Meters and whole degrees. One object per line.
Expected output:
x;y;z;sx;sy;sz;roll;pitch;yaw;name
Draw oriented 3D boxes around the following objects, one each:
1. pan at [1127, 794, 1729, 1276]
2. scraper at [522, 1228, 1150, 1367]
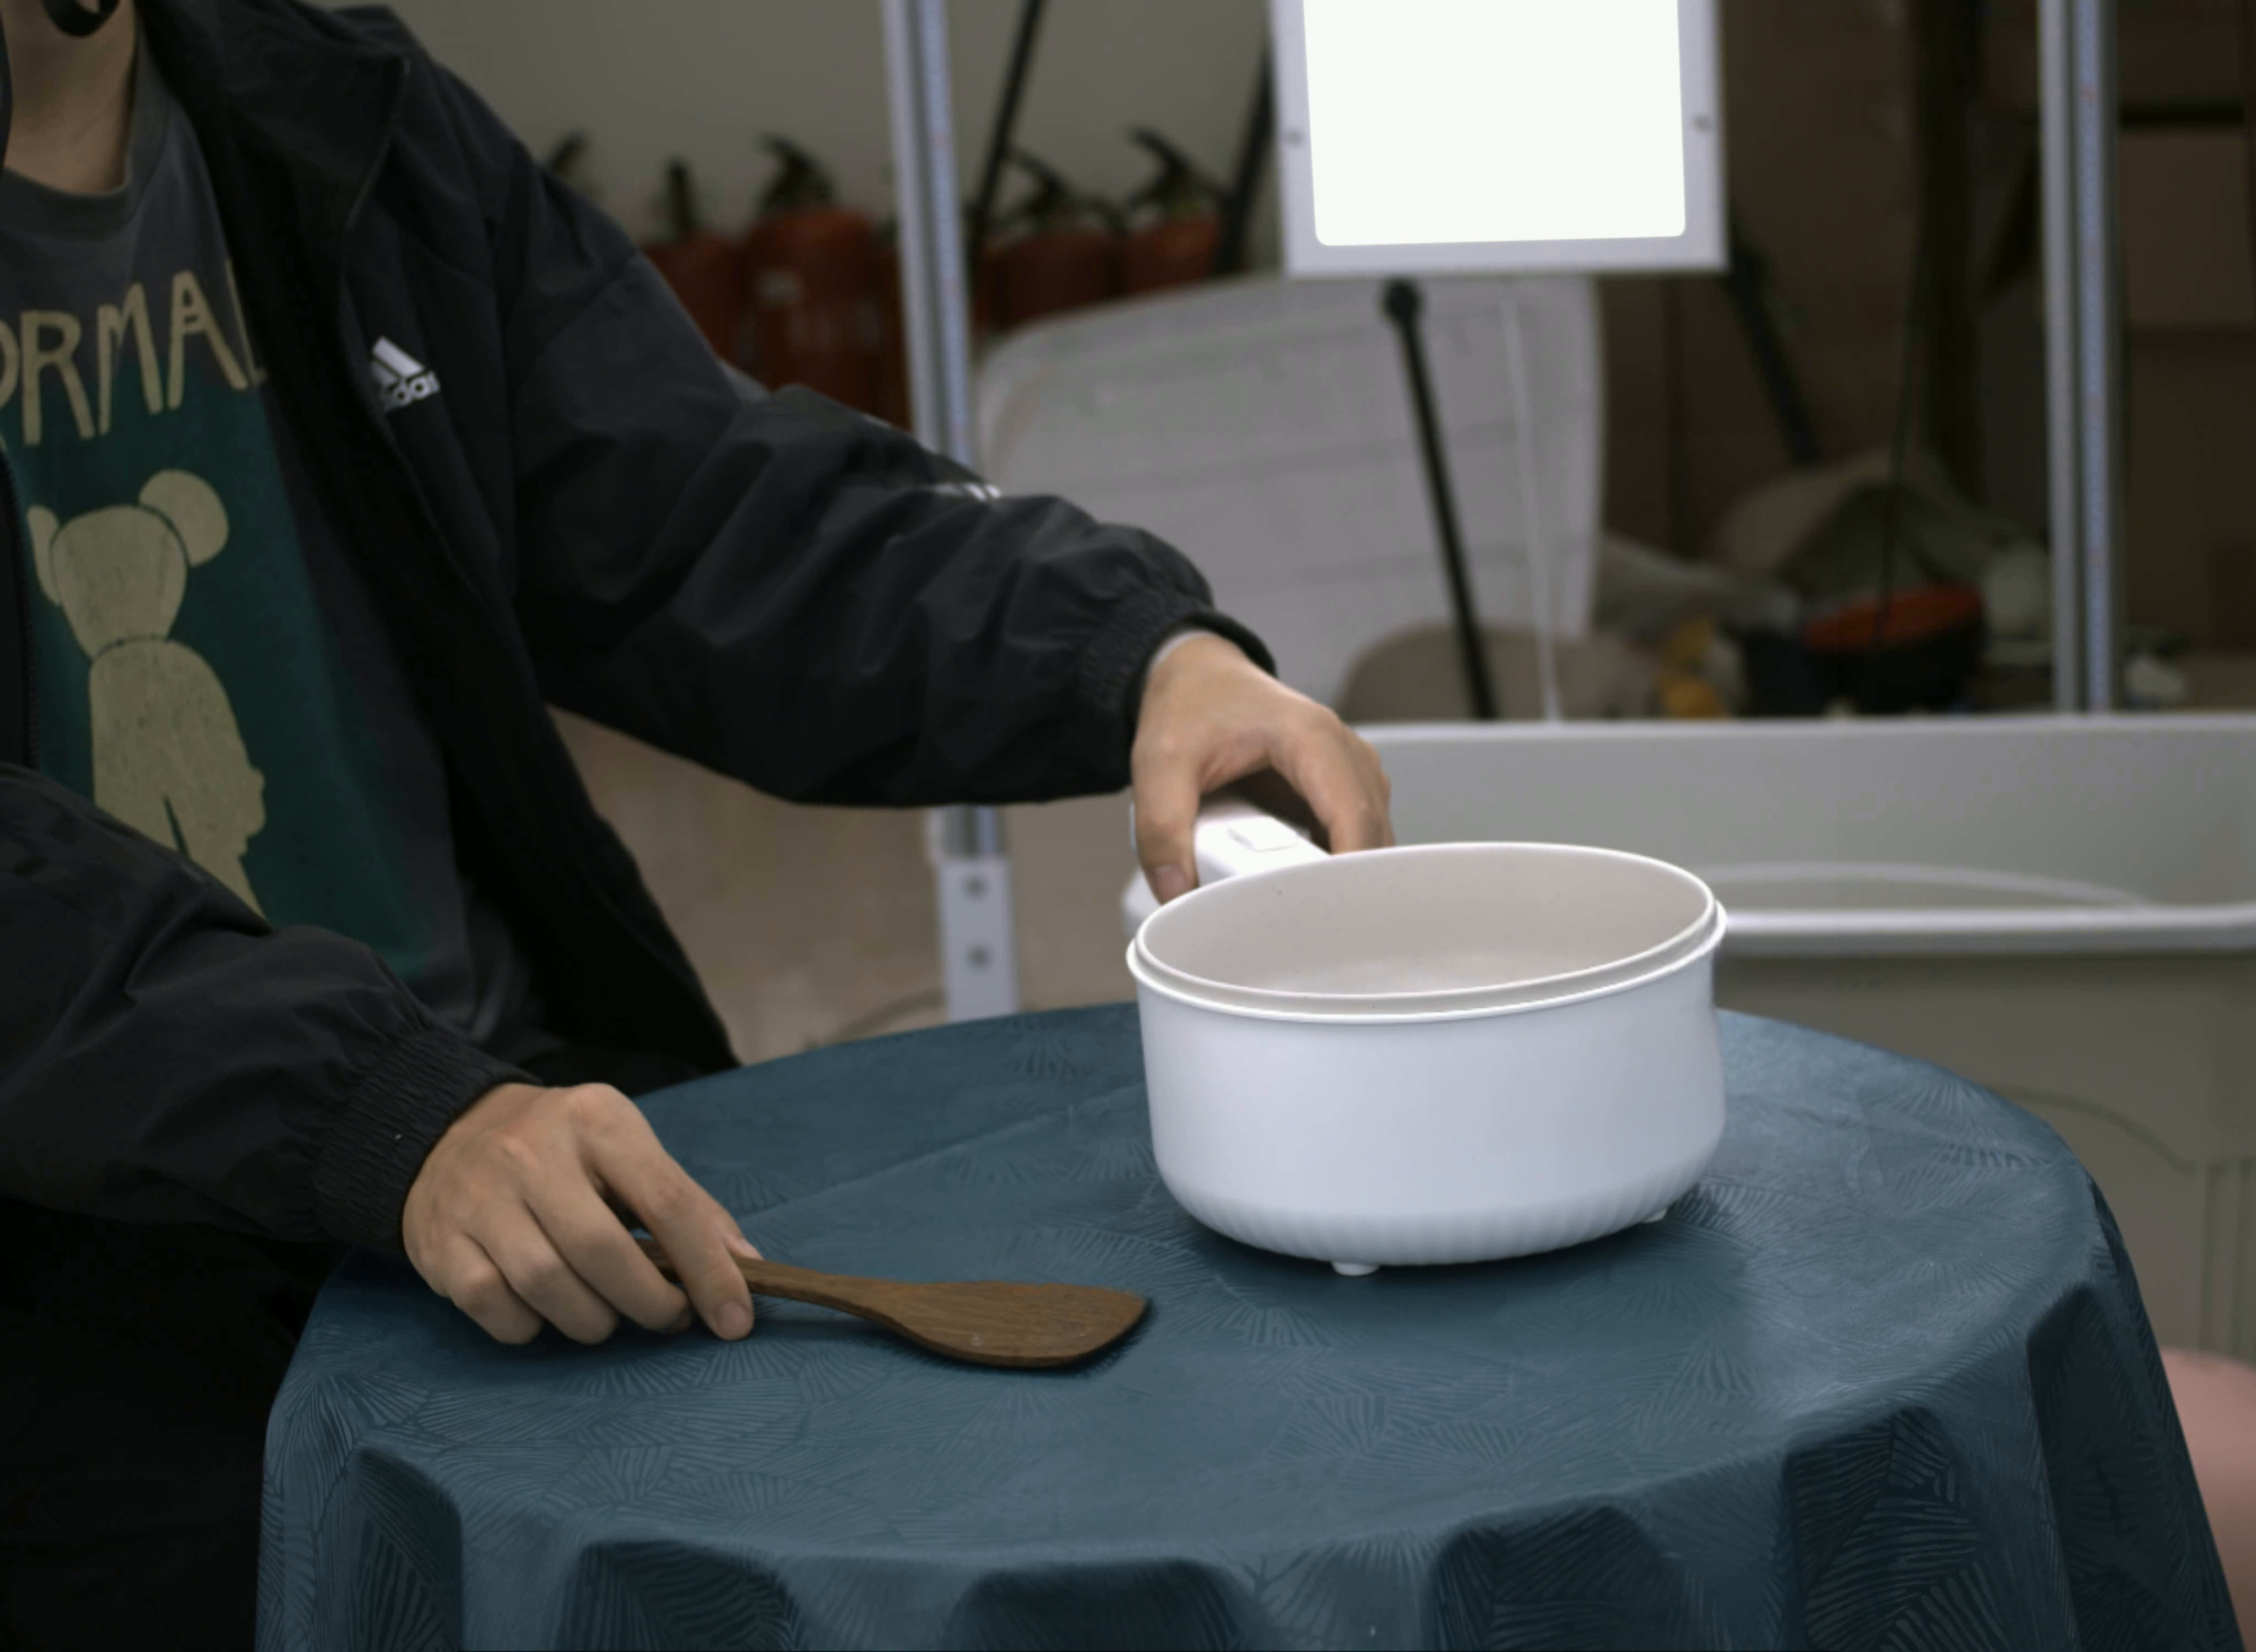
0.079;0.066;1.916;0.198;0.102;0.359;-10;13;-16;pan
-0.098;0.150;1.786;0.214;0.011;0.074;7;15;21;scraper
